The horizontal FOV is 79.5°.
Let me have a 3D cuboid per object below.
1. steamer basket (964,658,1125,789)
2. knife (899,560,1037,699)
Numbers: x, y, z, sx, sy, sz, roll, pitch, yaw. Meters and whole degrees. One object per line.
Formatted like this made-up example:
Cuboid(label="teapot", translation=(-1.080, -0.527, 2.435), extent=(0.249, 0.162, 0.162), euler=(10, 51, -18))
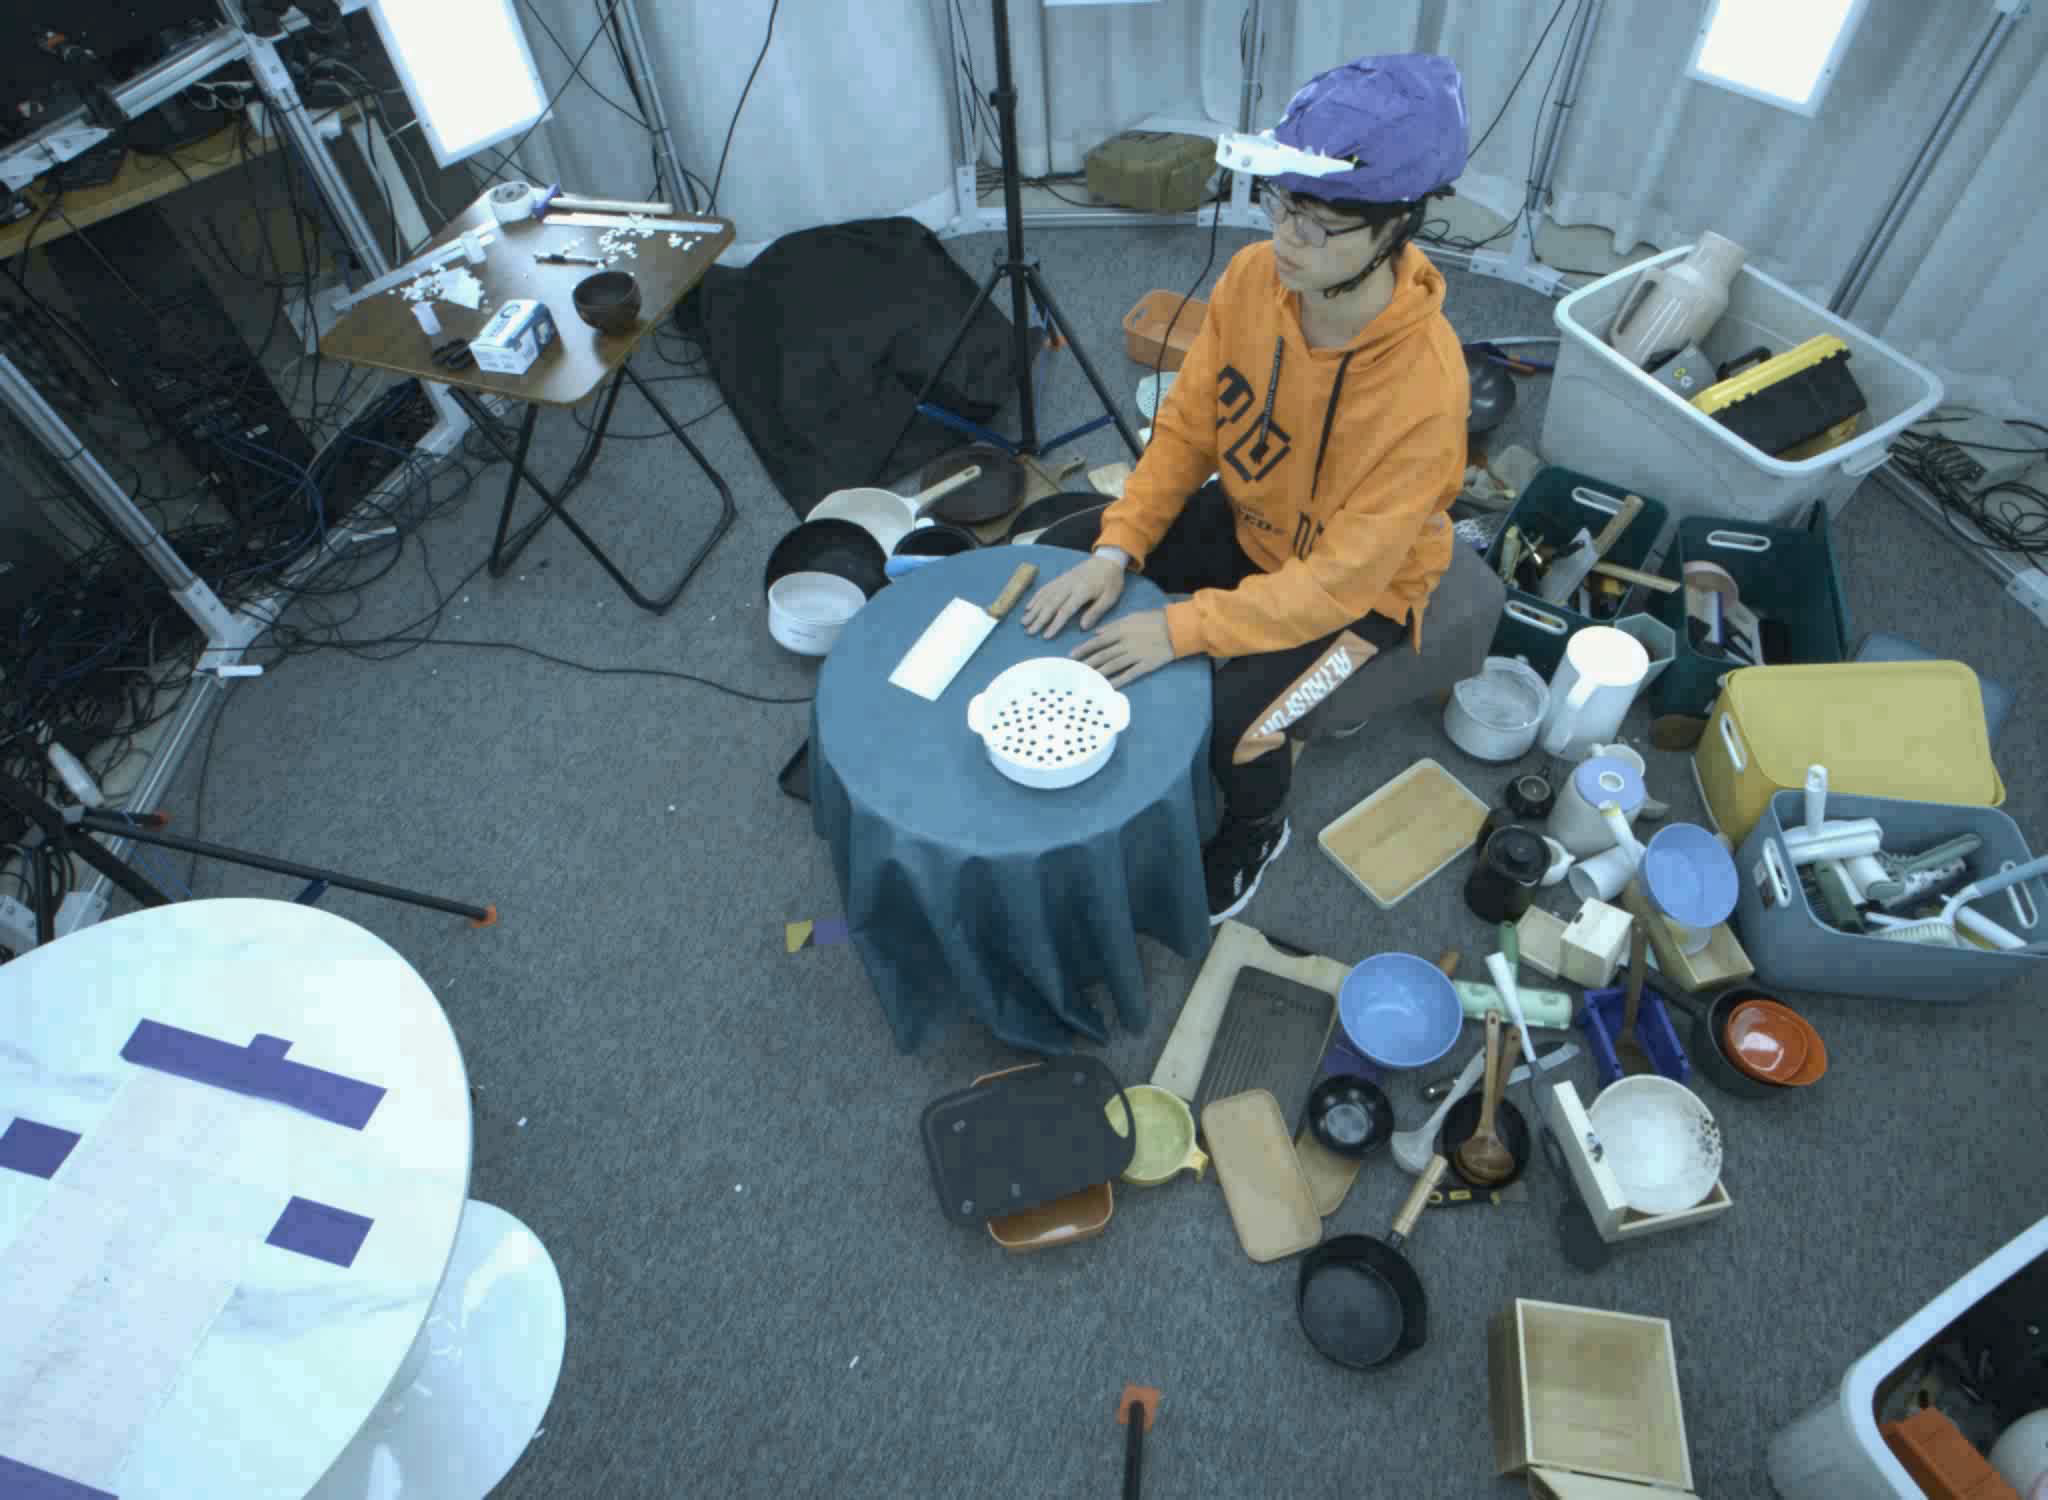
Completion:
Cuboid(label="steamer basket", translation=(0.031, -0.036, 1.770), extent=(0.230, 0.070, 0.200), euler=(-1, 54, 4))
Cuboid(label="knife", translation=(-0.091, -0.200, 1.922), extent=(0.091, 0.021, 0.306), euler=(25, 62, 20))
